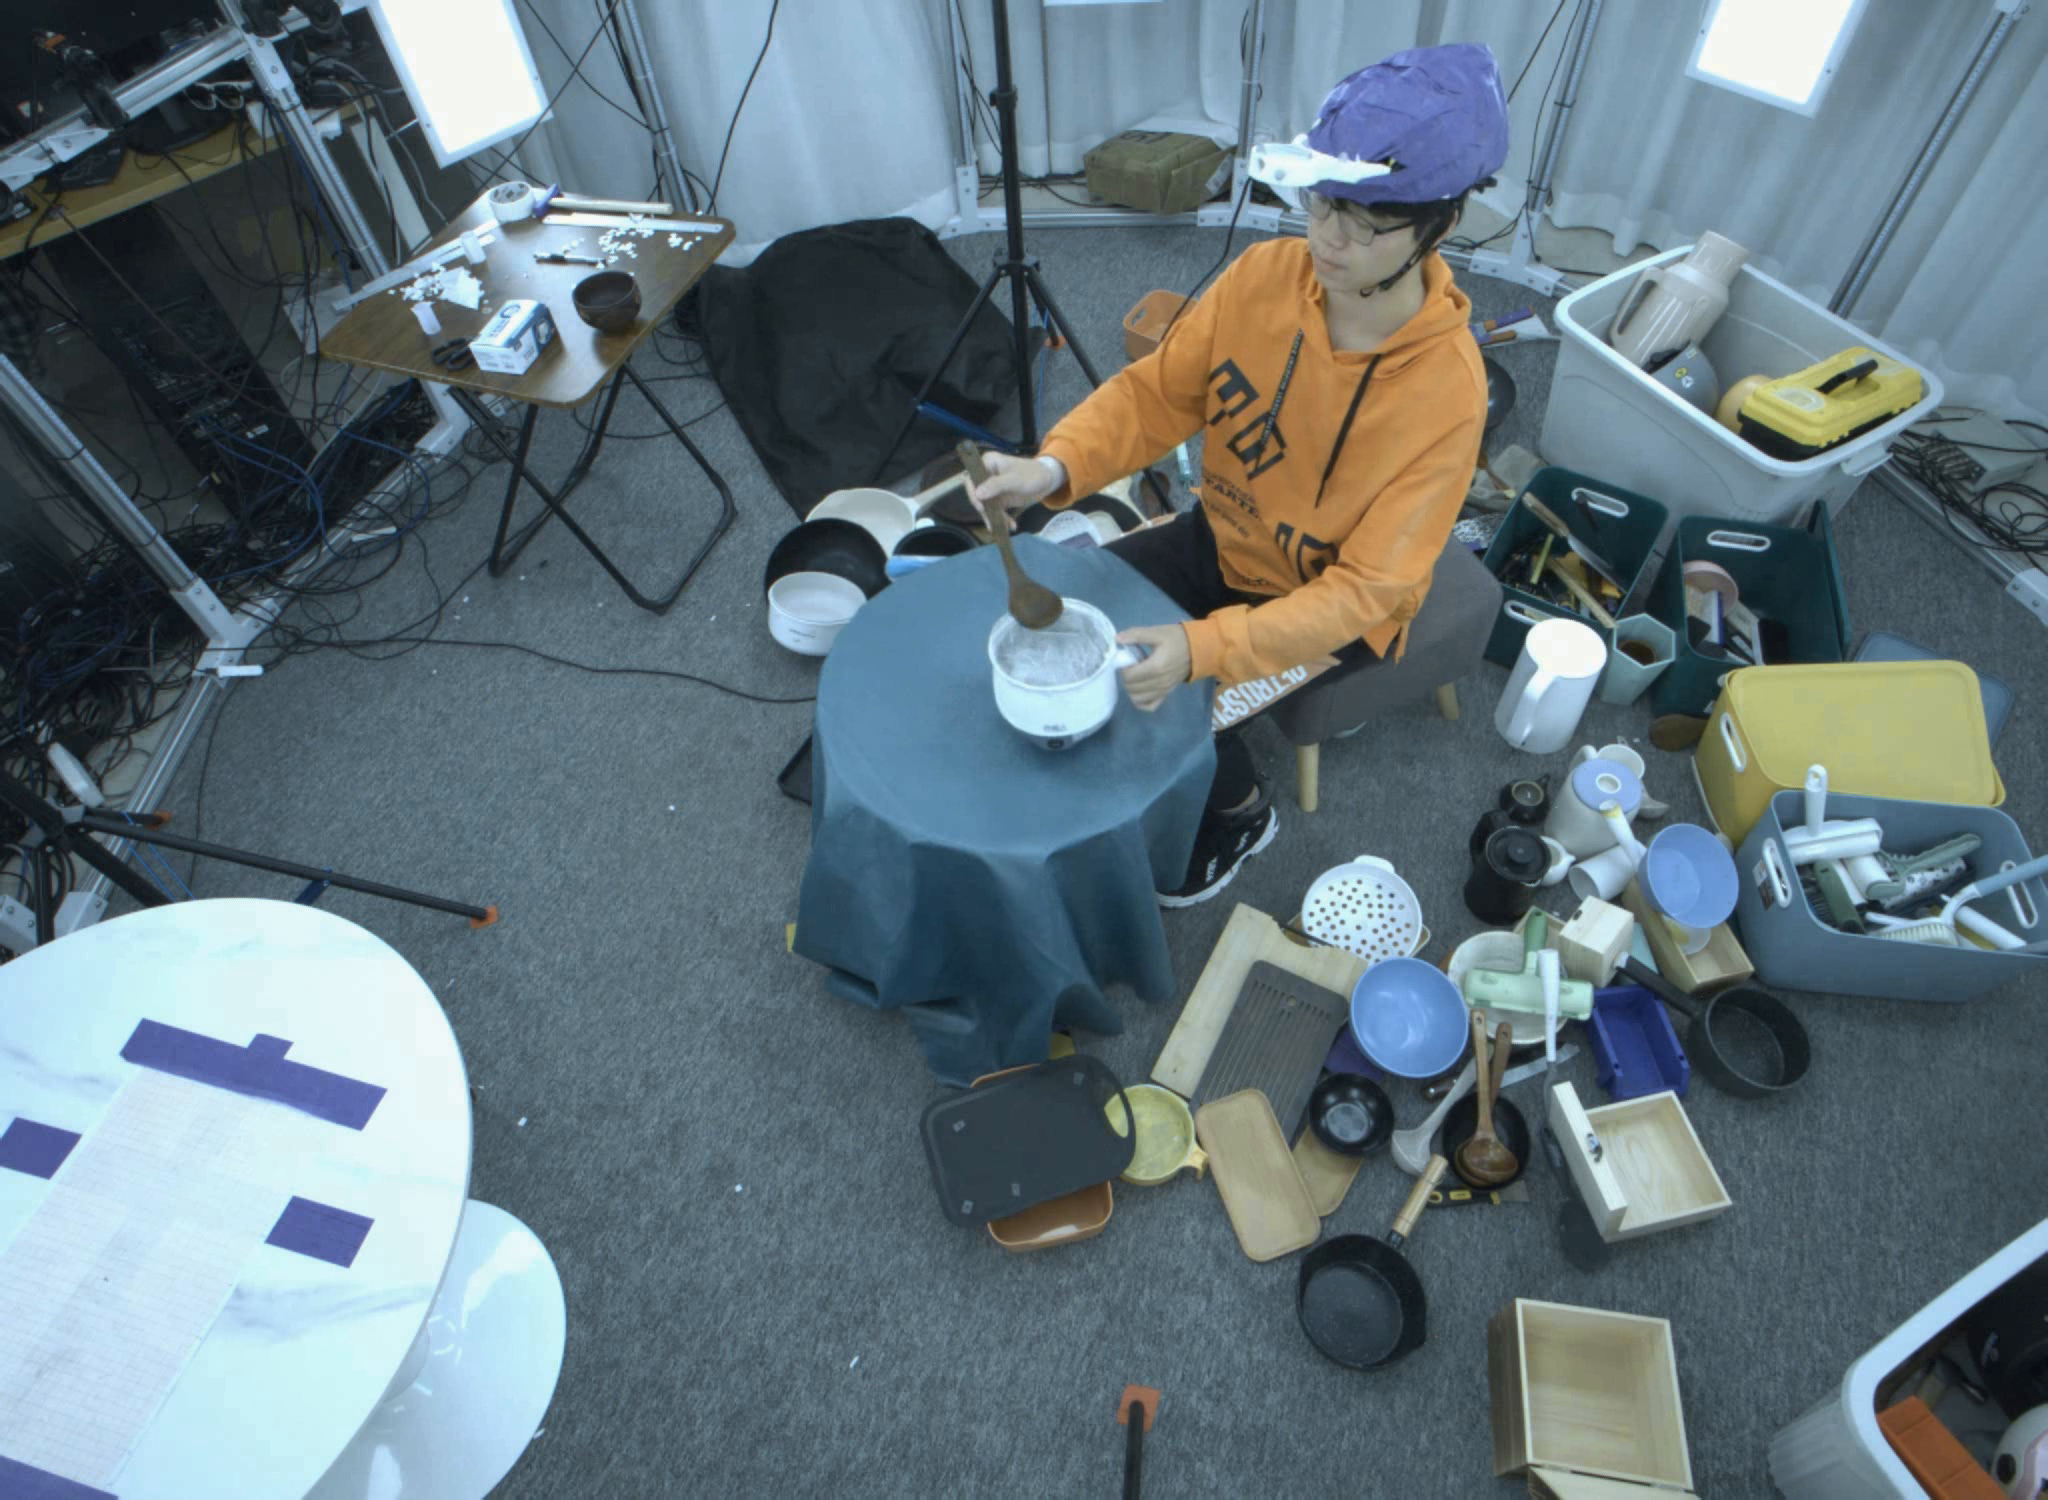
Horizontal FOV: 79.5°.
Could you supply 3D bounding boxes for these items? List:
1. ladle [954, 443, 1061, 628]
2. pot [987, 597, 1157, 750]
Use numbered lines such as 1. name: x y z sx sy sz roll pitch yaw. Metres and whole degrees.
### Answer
1. ladle: -0.027 -0.294 1.641 0.077 0.070 0.275 -24 98 -23
2. pot: 0.070 -0.109 1.730 0.233 0.138 0.177 -3 53 3
